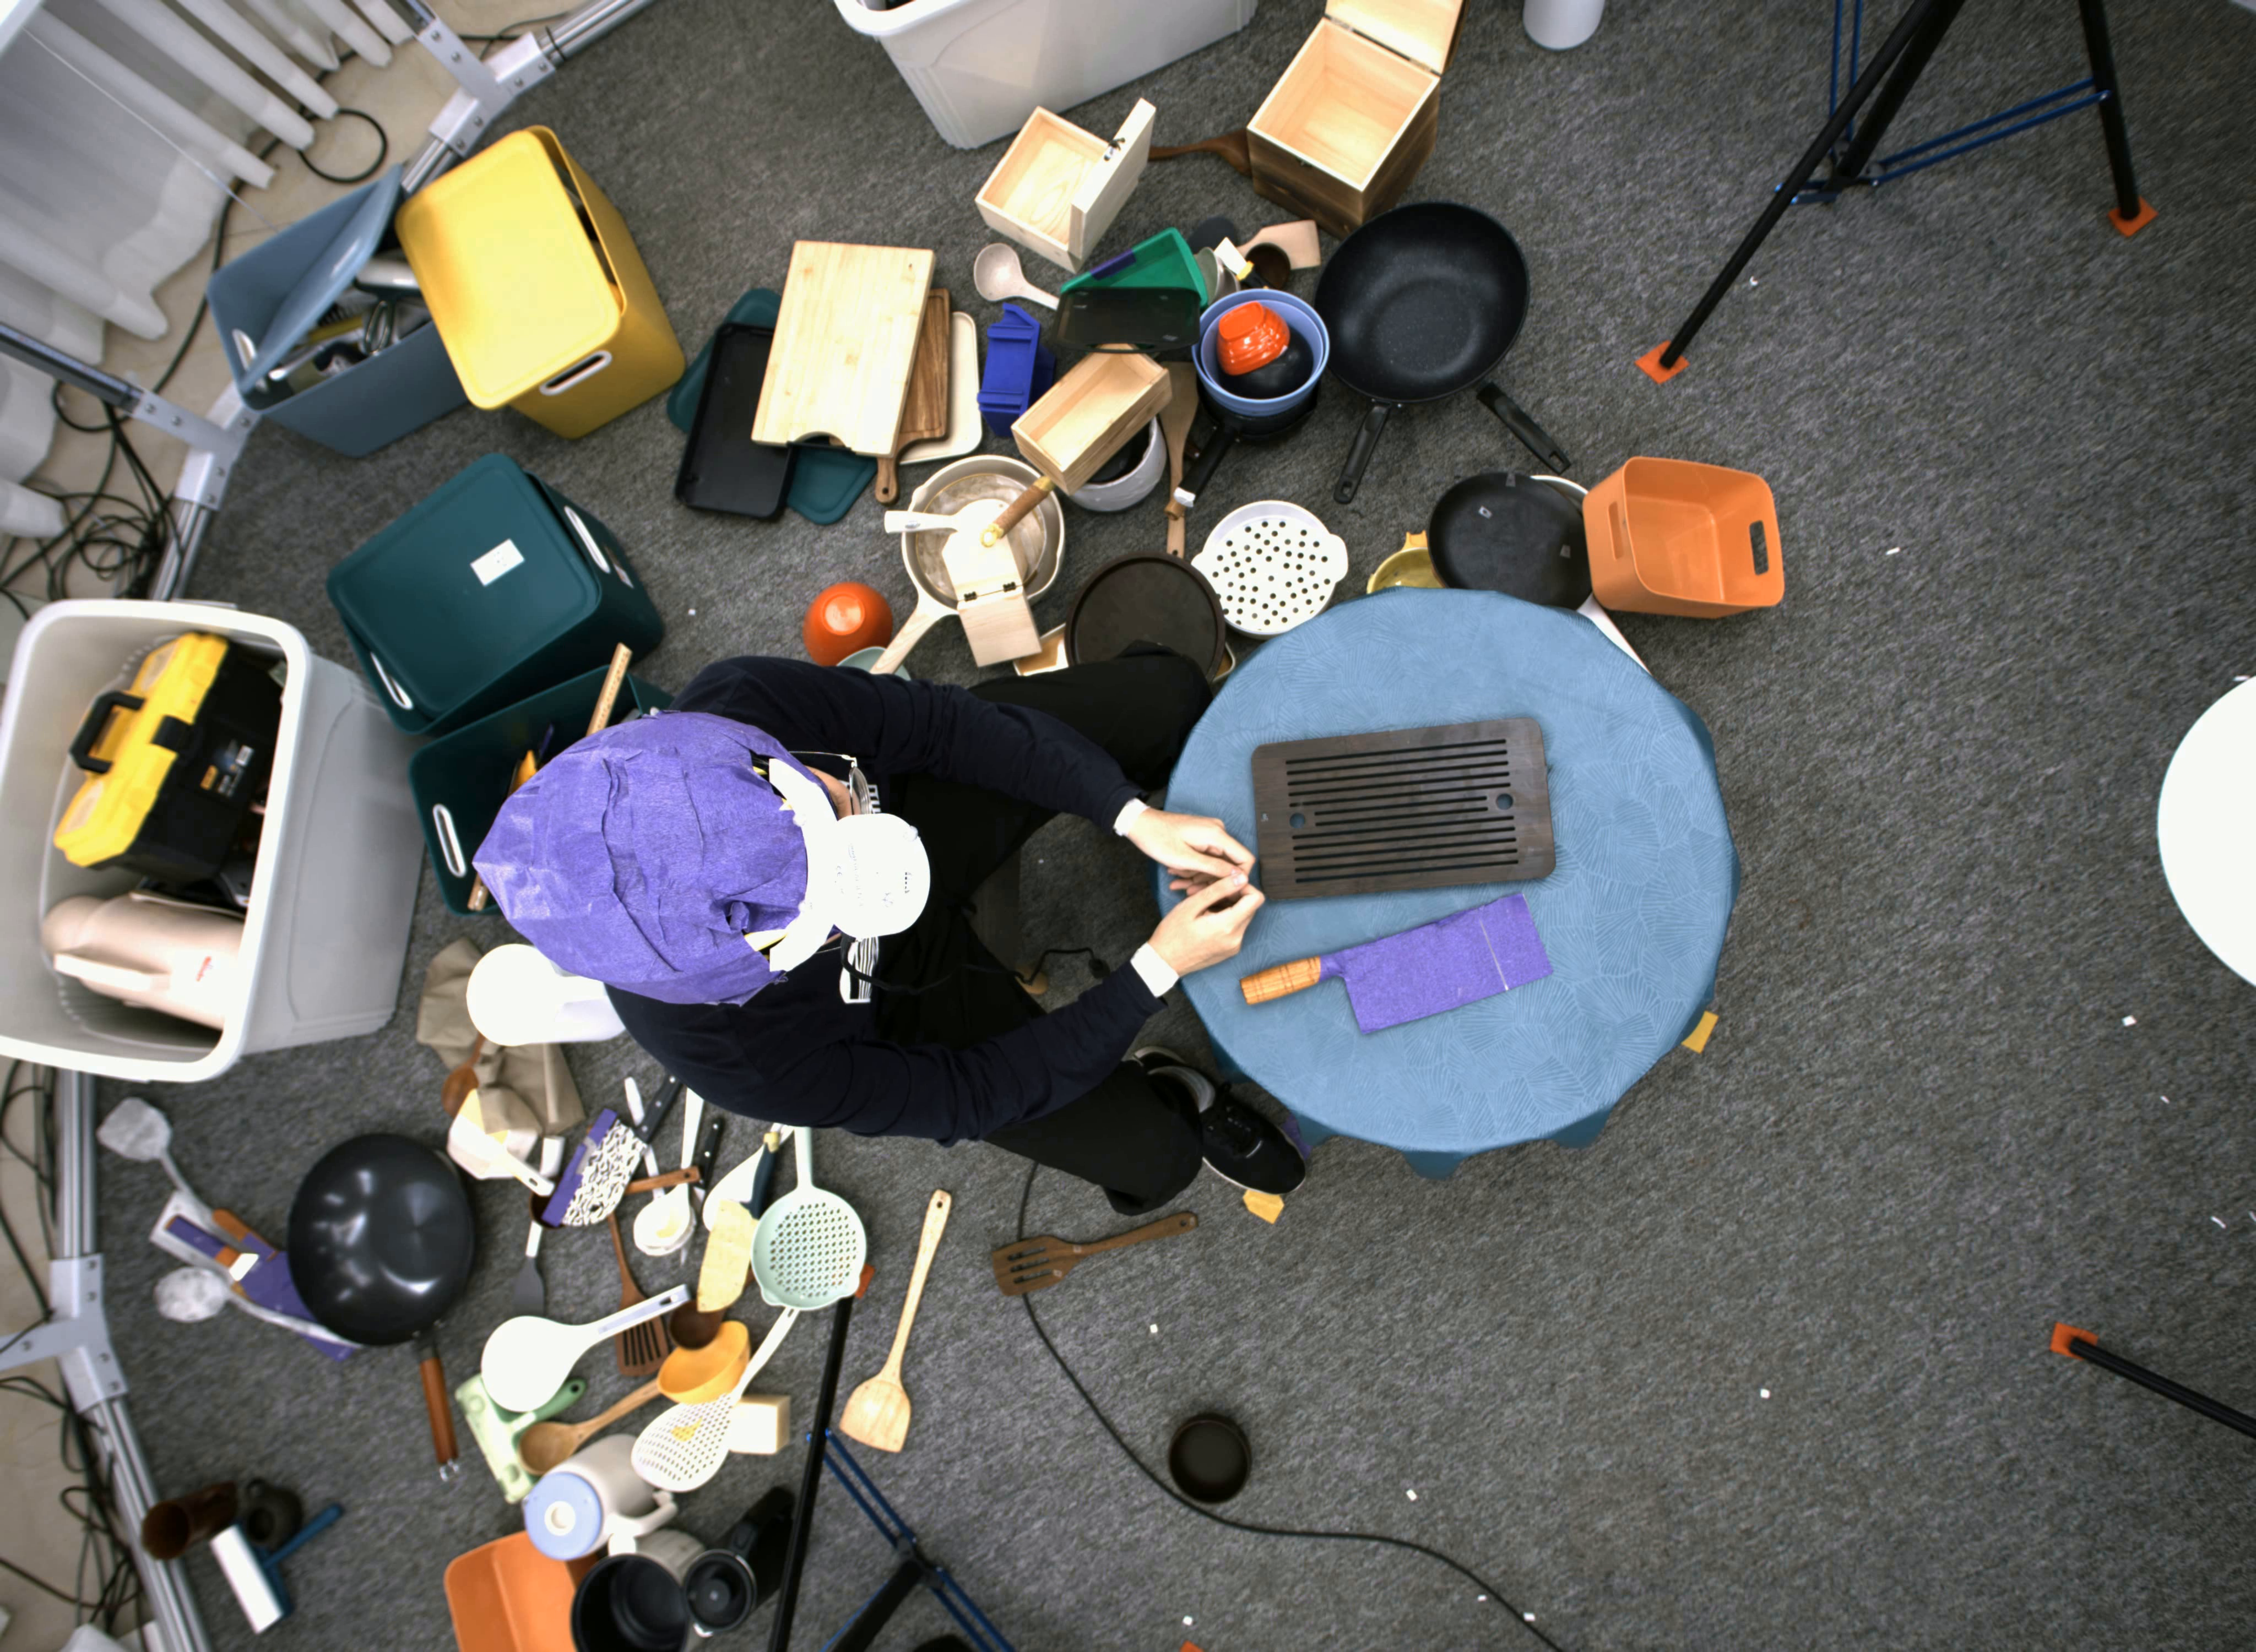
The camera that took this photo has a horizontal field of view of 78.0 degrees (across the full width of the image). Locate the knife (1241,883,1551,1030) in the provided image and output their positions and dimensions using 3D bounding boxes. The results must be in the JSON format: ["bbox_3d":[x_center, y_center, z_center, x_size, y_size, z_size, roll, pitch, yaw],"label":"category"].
[{"bbox_3d":[0.279,0.155,1.440,0.317,0.032,0.103,-20,83,9],"label":"knife"}]

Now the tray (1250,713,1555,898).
[{"bbox_3d":[0.287,-0.022,1.453,0.307,0.018,0.169,-6,86,11],"label":"tray"}]
